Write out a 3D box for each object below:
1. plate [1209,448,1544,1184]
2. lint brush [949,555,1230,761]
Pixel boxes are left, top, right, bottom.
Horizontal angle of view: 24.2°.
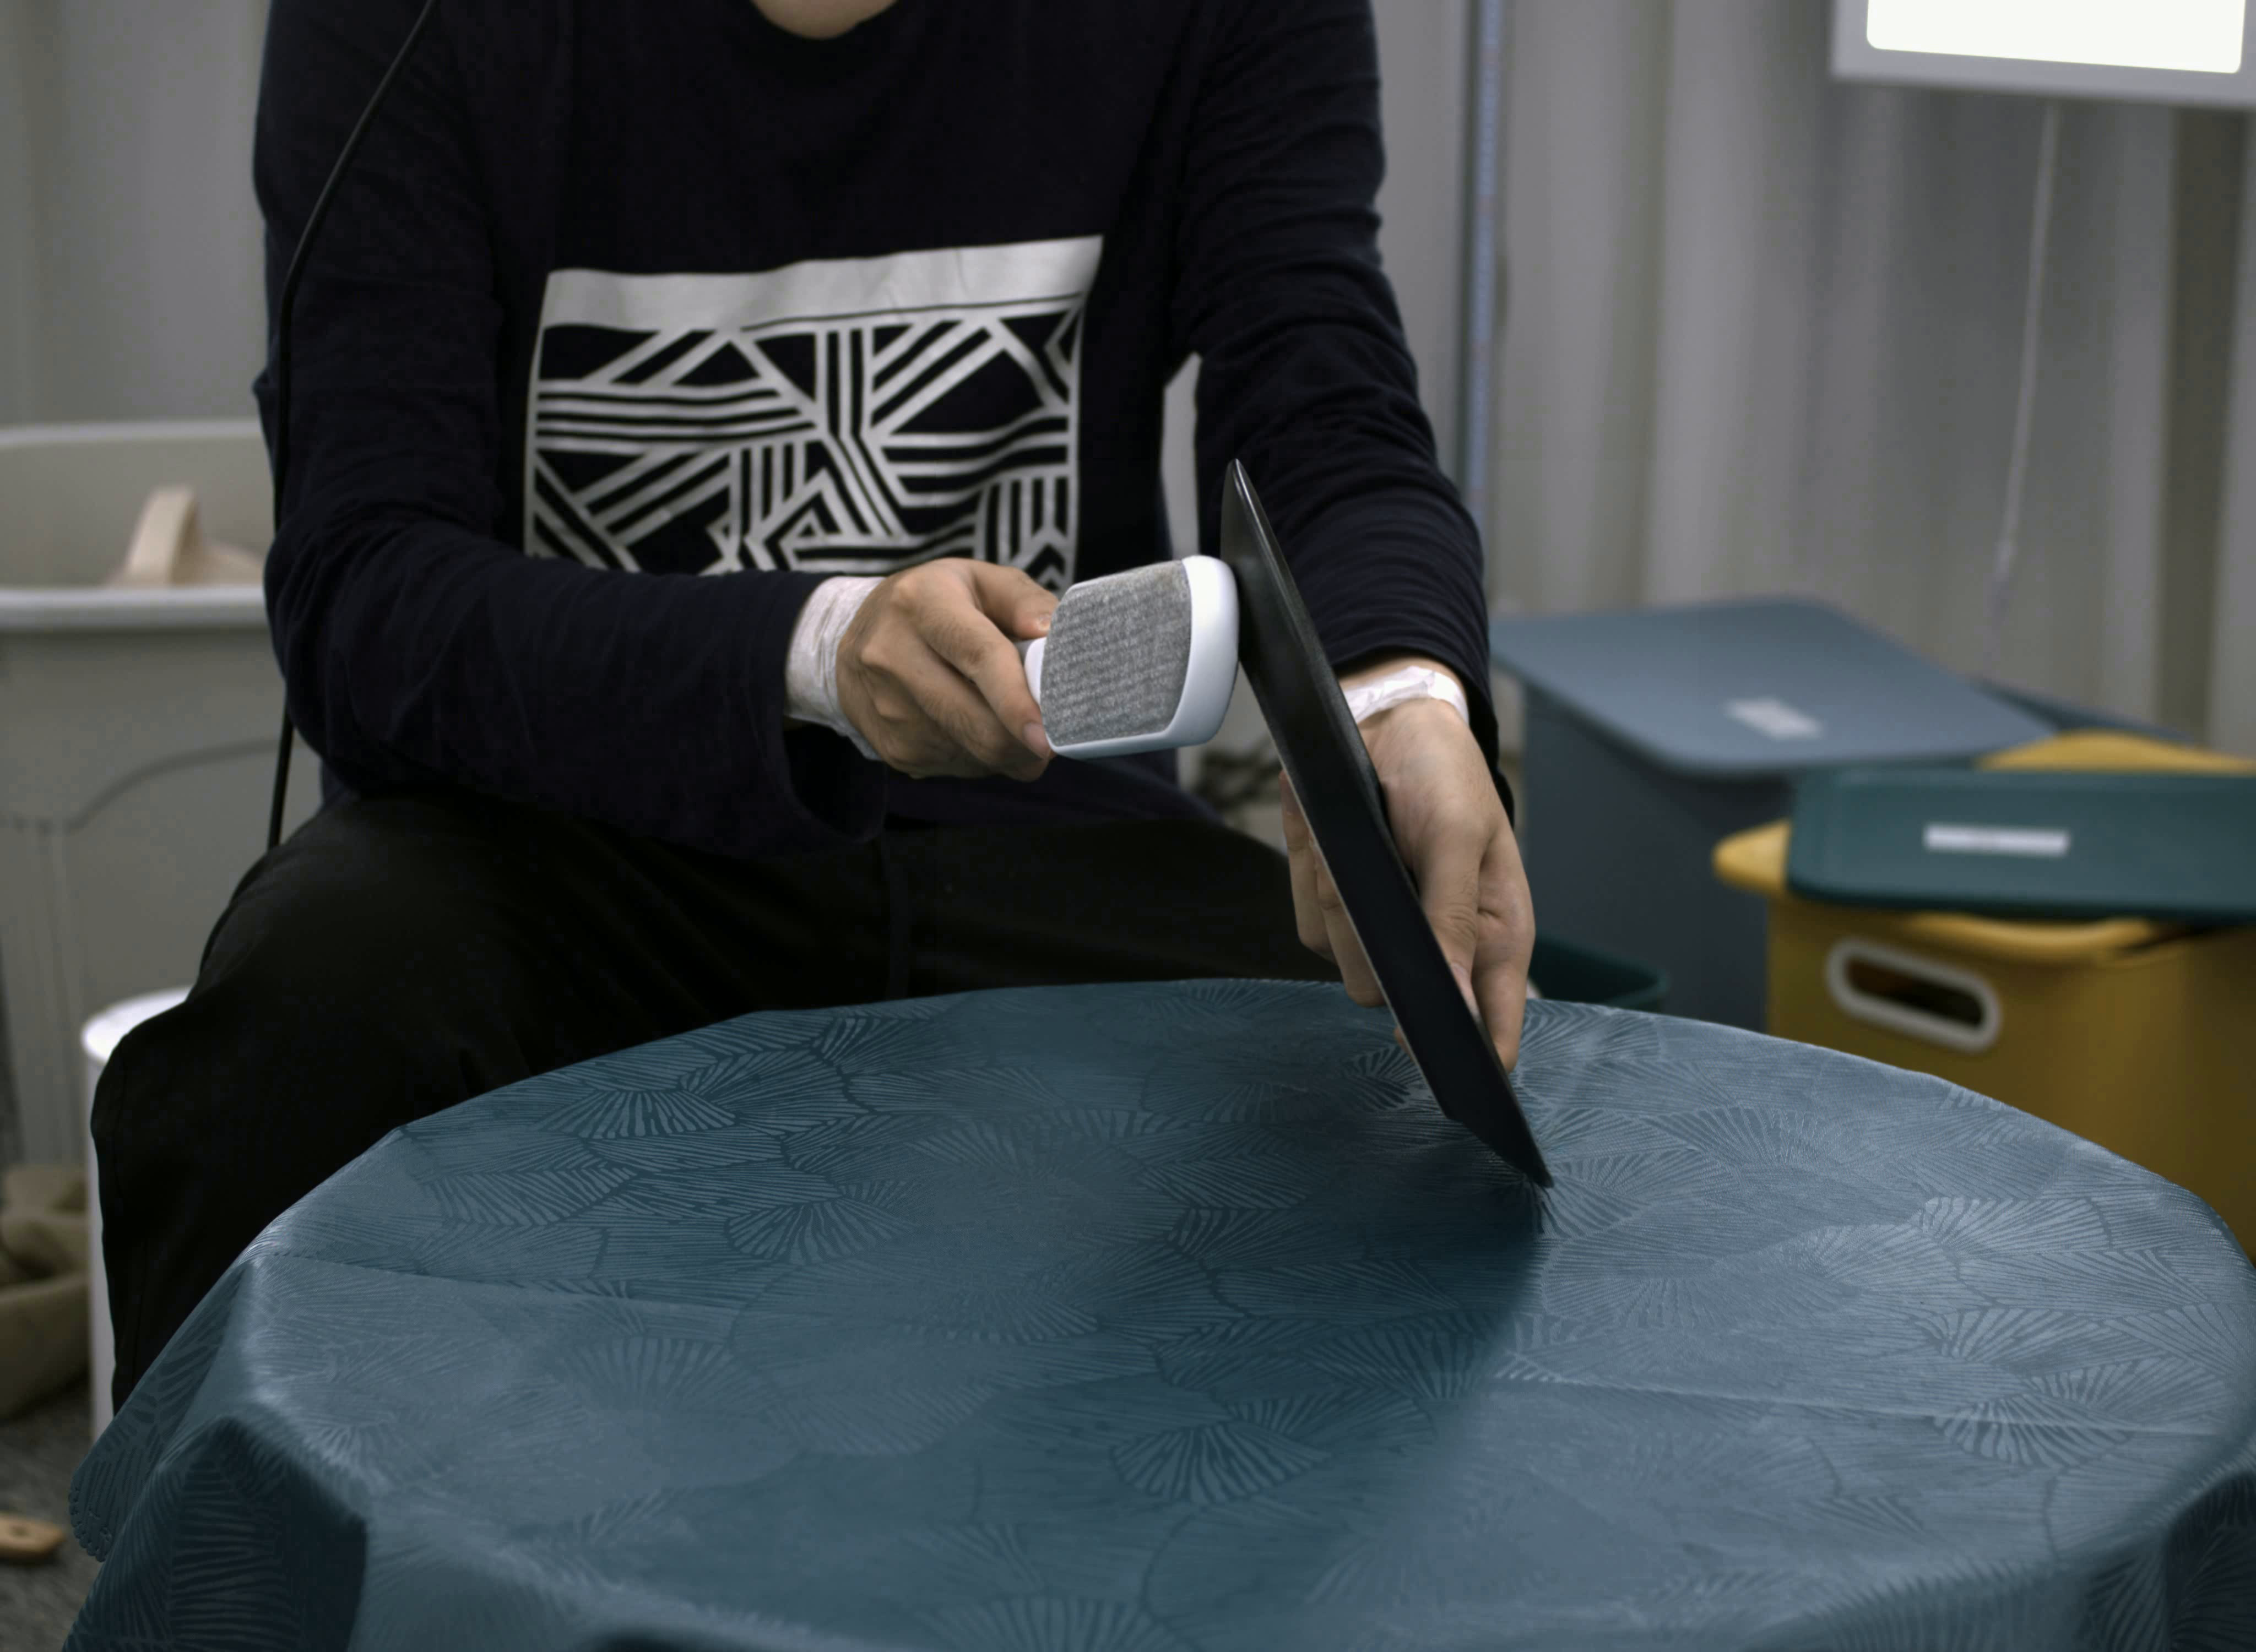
[{"bbox_3d":[0.070,0.000,1.607,0.023,0.246,0.243,-23,16,4],"label":"plate"},{"bbox_3d":[-0.016,-0.051,1.677,0.021,0.060,0.307,0,-1,-15],"label":"lint brush"}]
